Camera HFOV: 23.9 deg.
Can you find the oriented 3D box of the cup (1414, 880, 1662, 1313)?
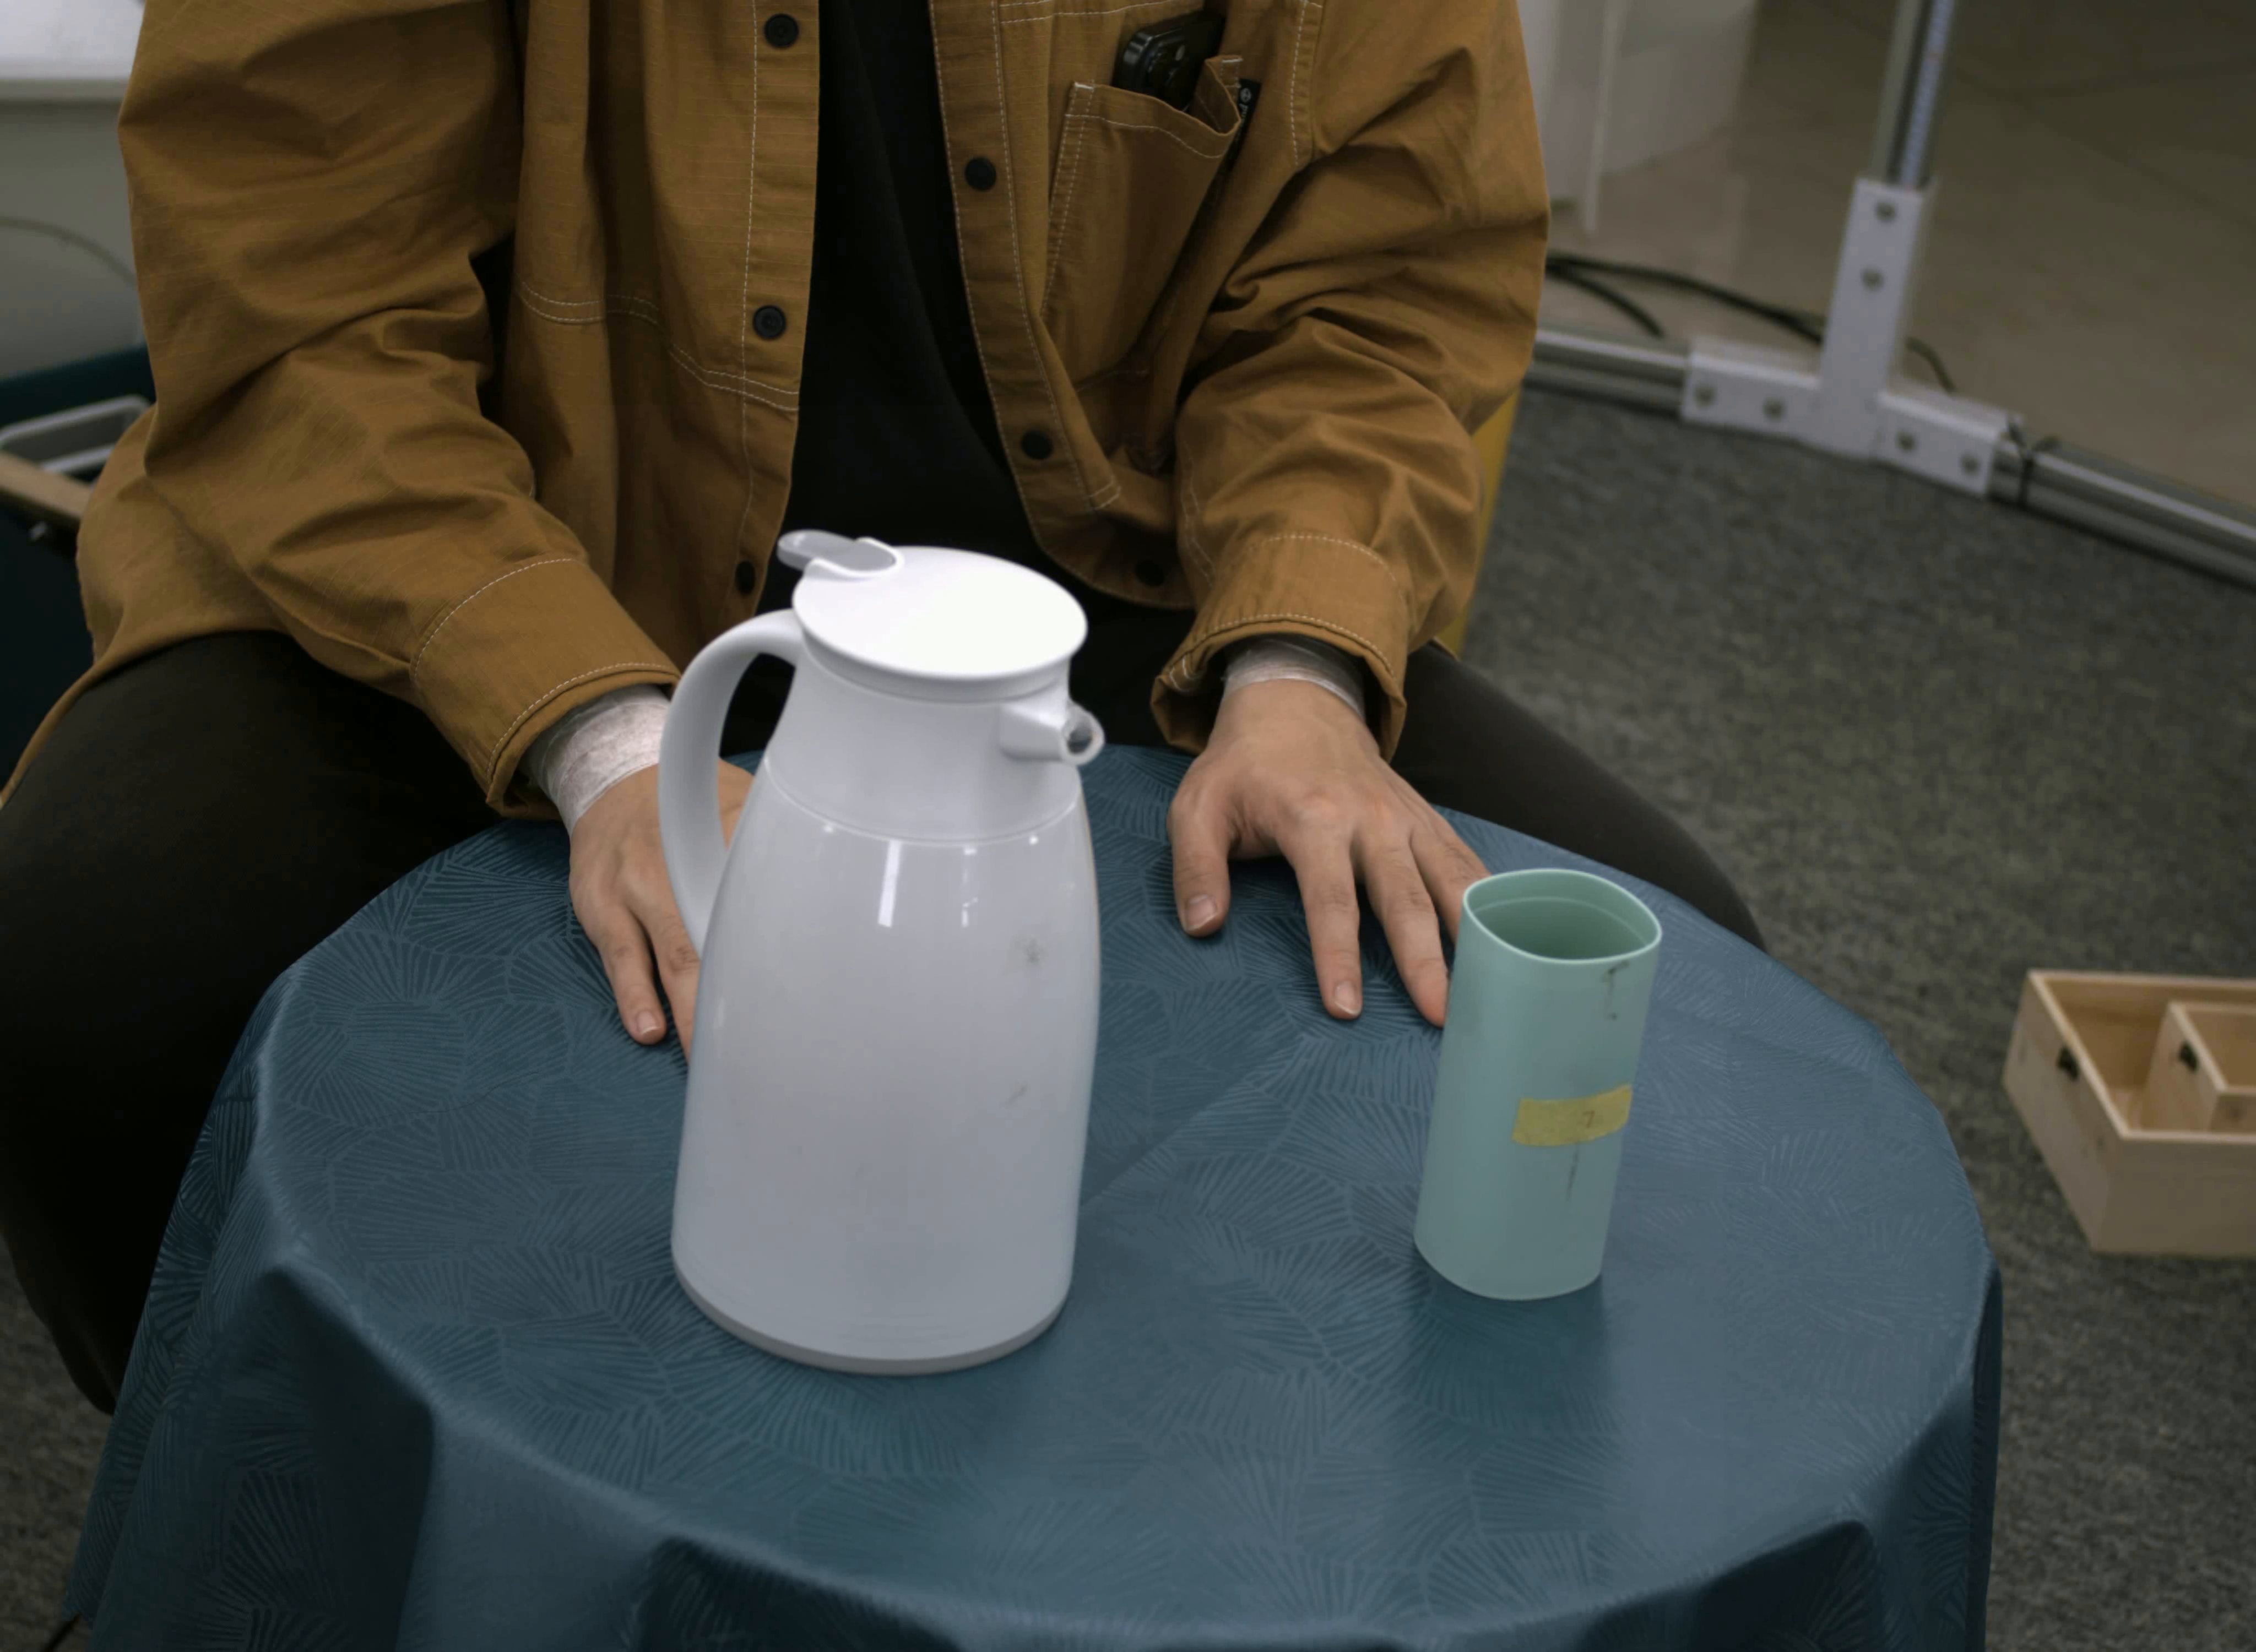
[{"bbox_3d":[0.134,0.089,1.767,0.066,0.132,0.067,6,26,-3],"label":"cup"}]

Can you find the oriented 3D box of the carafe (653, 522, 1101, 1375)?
[{"bbox_3d":[-0.087,0.029,1.700,0.169,0.248,0.132,24,31,32],"label":"carafe"}]
